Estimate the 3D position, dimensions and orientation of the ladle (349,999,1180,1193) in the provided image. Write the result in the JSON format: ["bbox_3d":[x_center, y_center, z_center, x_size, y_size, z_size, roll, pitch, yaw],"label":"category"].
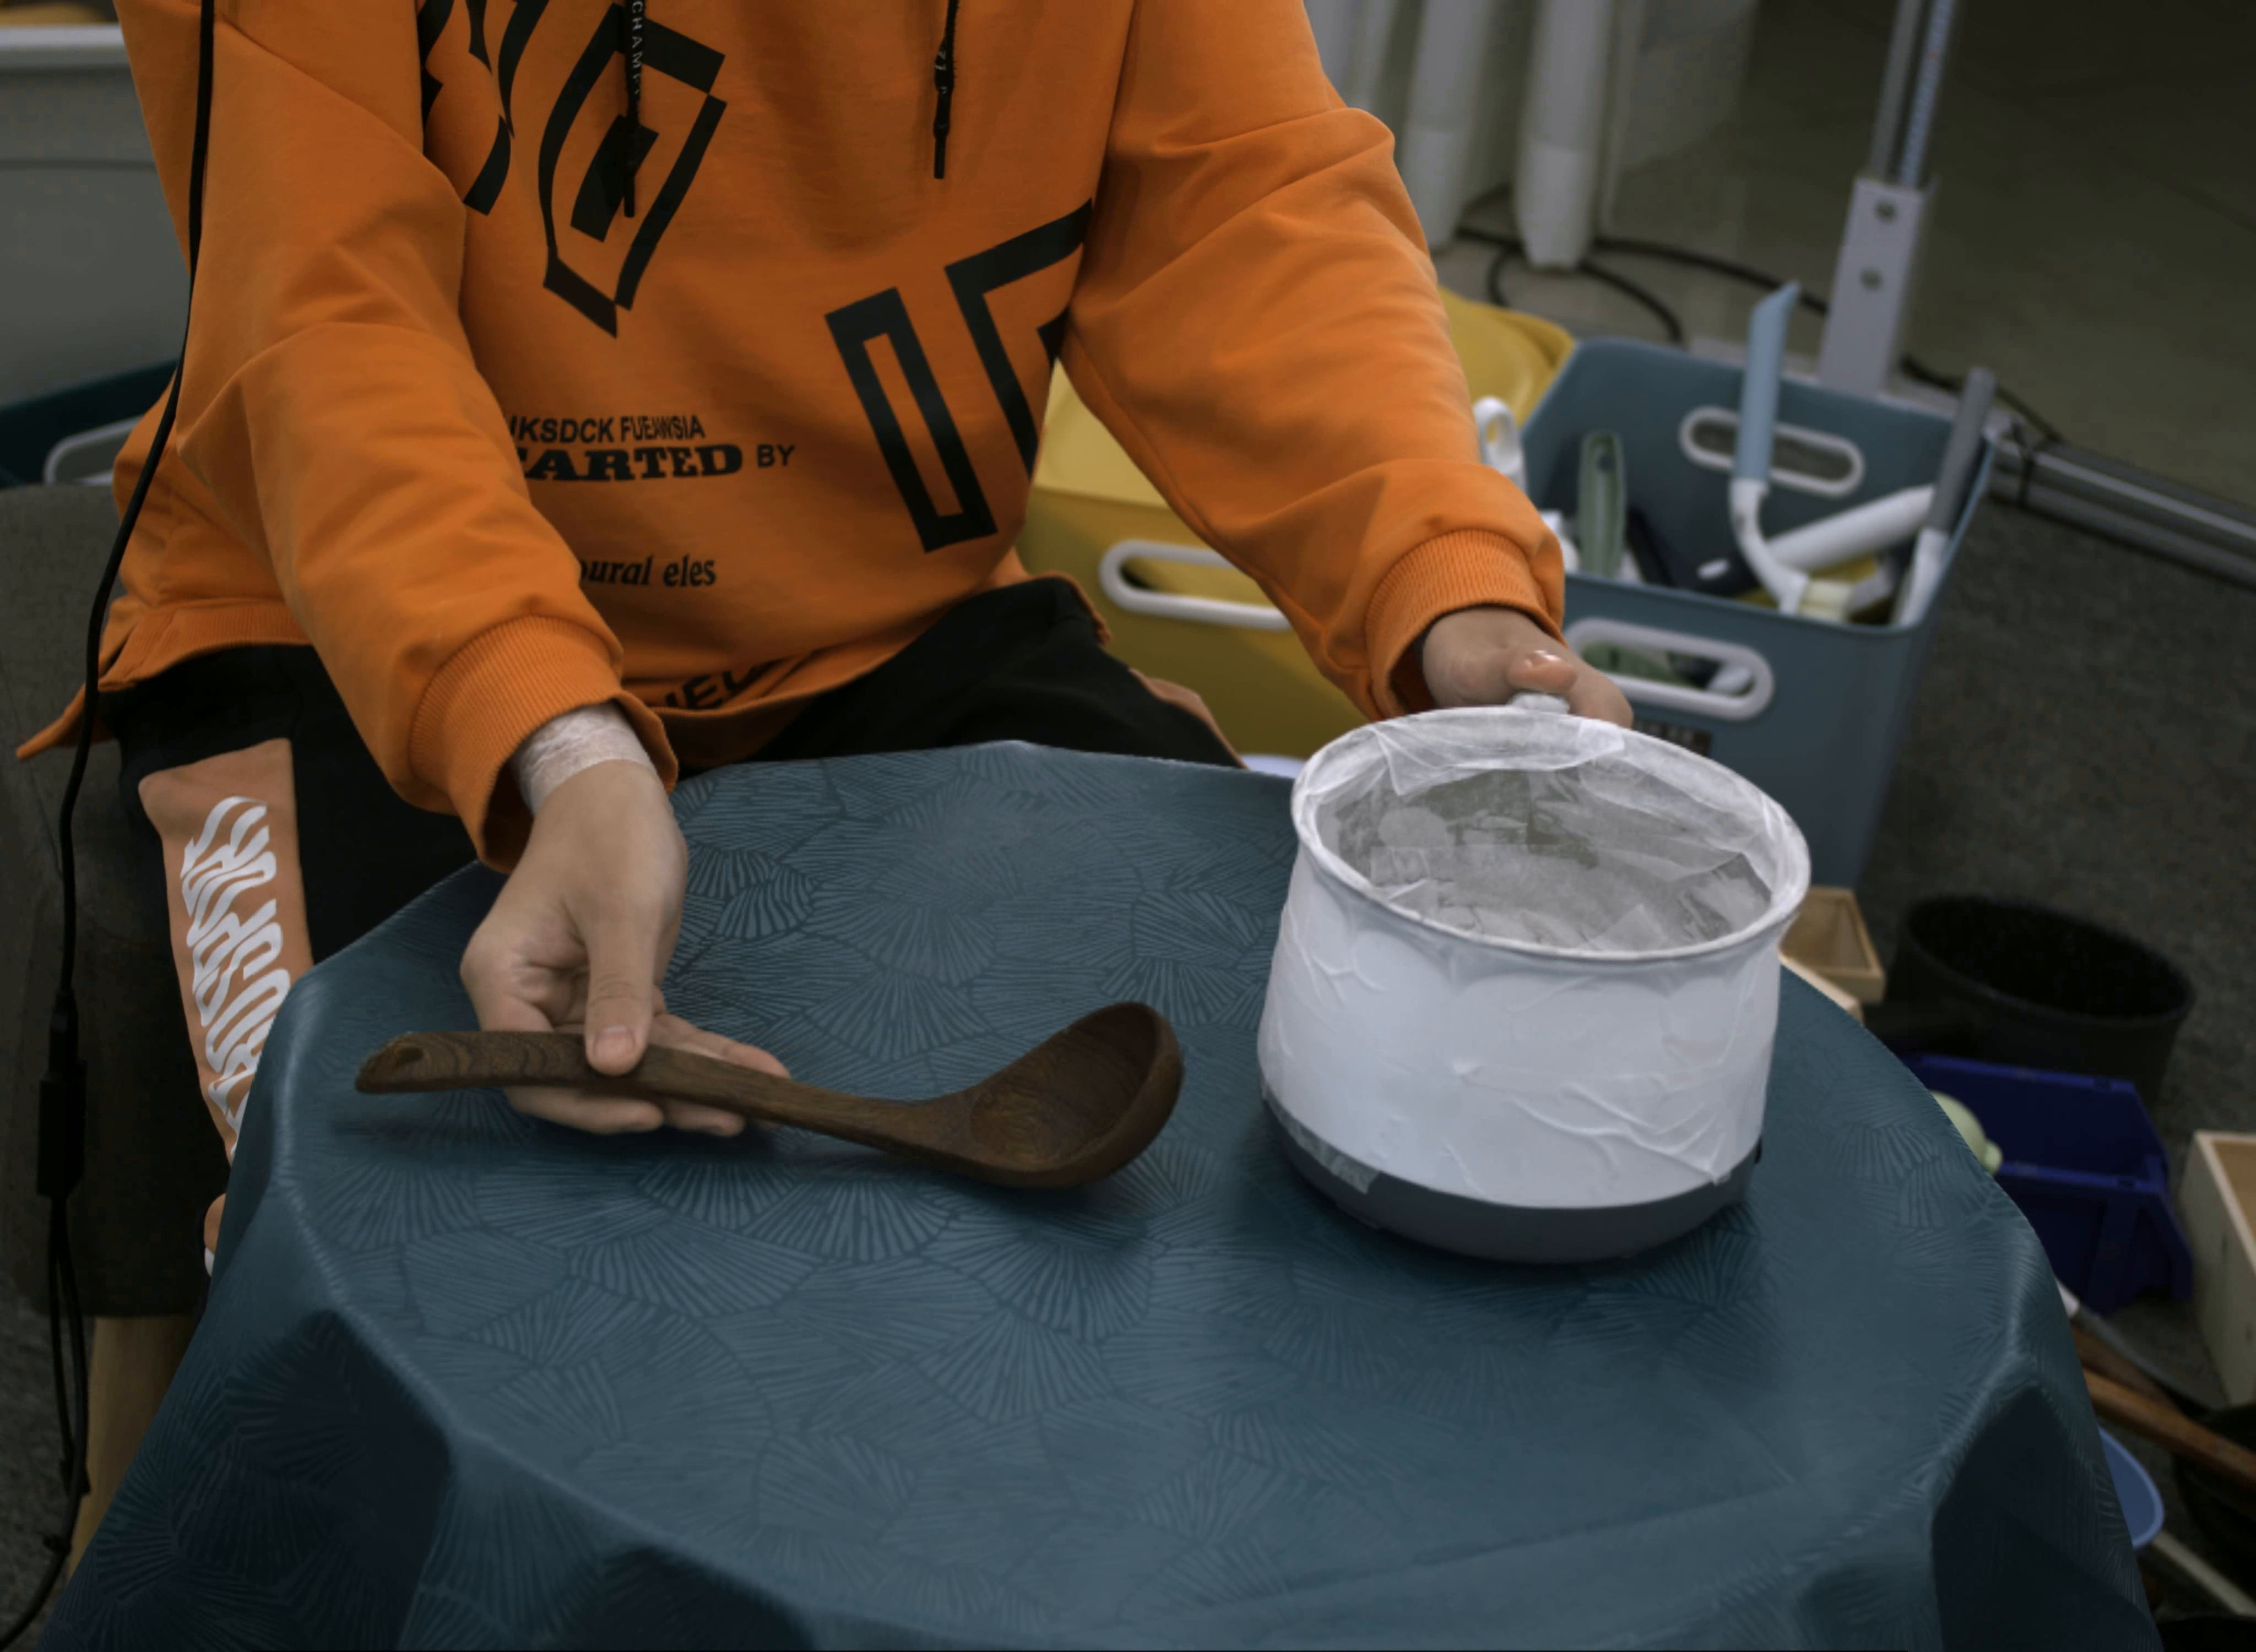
[{"bbox_3d":[-0.120,0.075,1.780,0.273,0.071,0.076,9,30,-7],"label":"ladle"}]

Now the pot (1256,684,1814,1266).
[{"bbox_3d":[0.135,0.044,1.839,0.178,0.136,0.235,6,27,-2],"label":"pot"}]
